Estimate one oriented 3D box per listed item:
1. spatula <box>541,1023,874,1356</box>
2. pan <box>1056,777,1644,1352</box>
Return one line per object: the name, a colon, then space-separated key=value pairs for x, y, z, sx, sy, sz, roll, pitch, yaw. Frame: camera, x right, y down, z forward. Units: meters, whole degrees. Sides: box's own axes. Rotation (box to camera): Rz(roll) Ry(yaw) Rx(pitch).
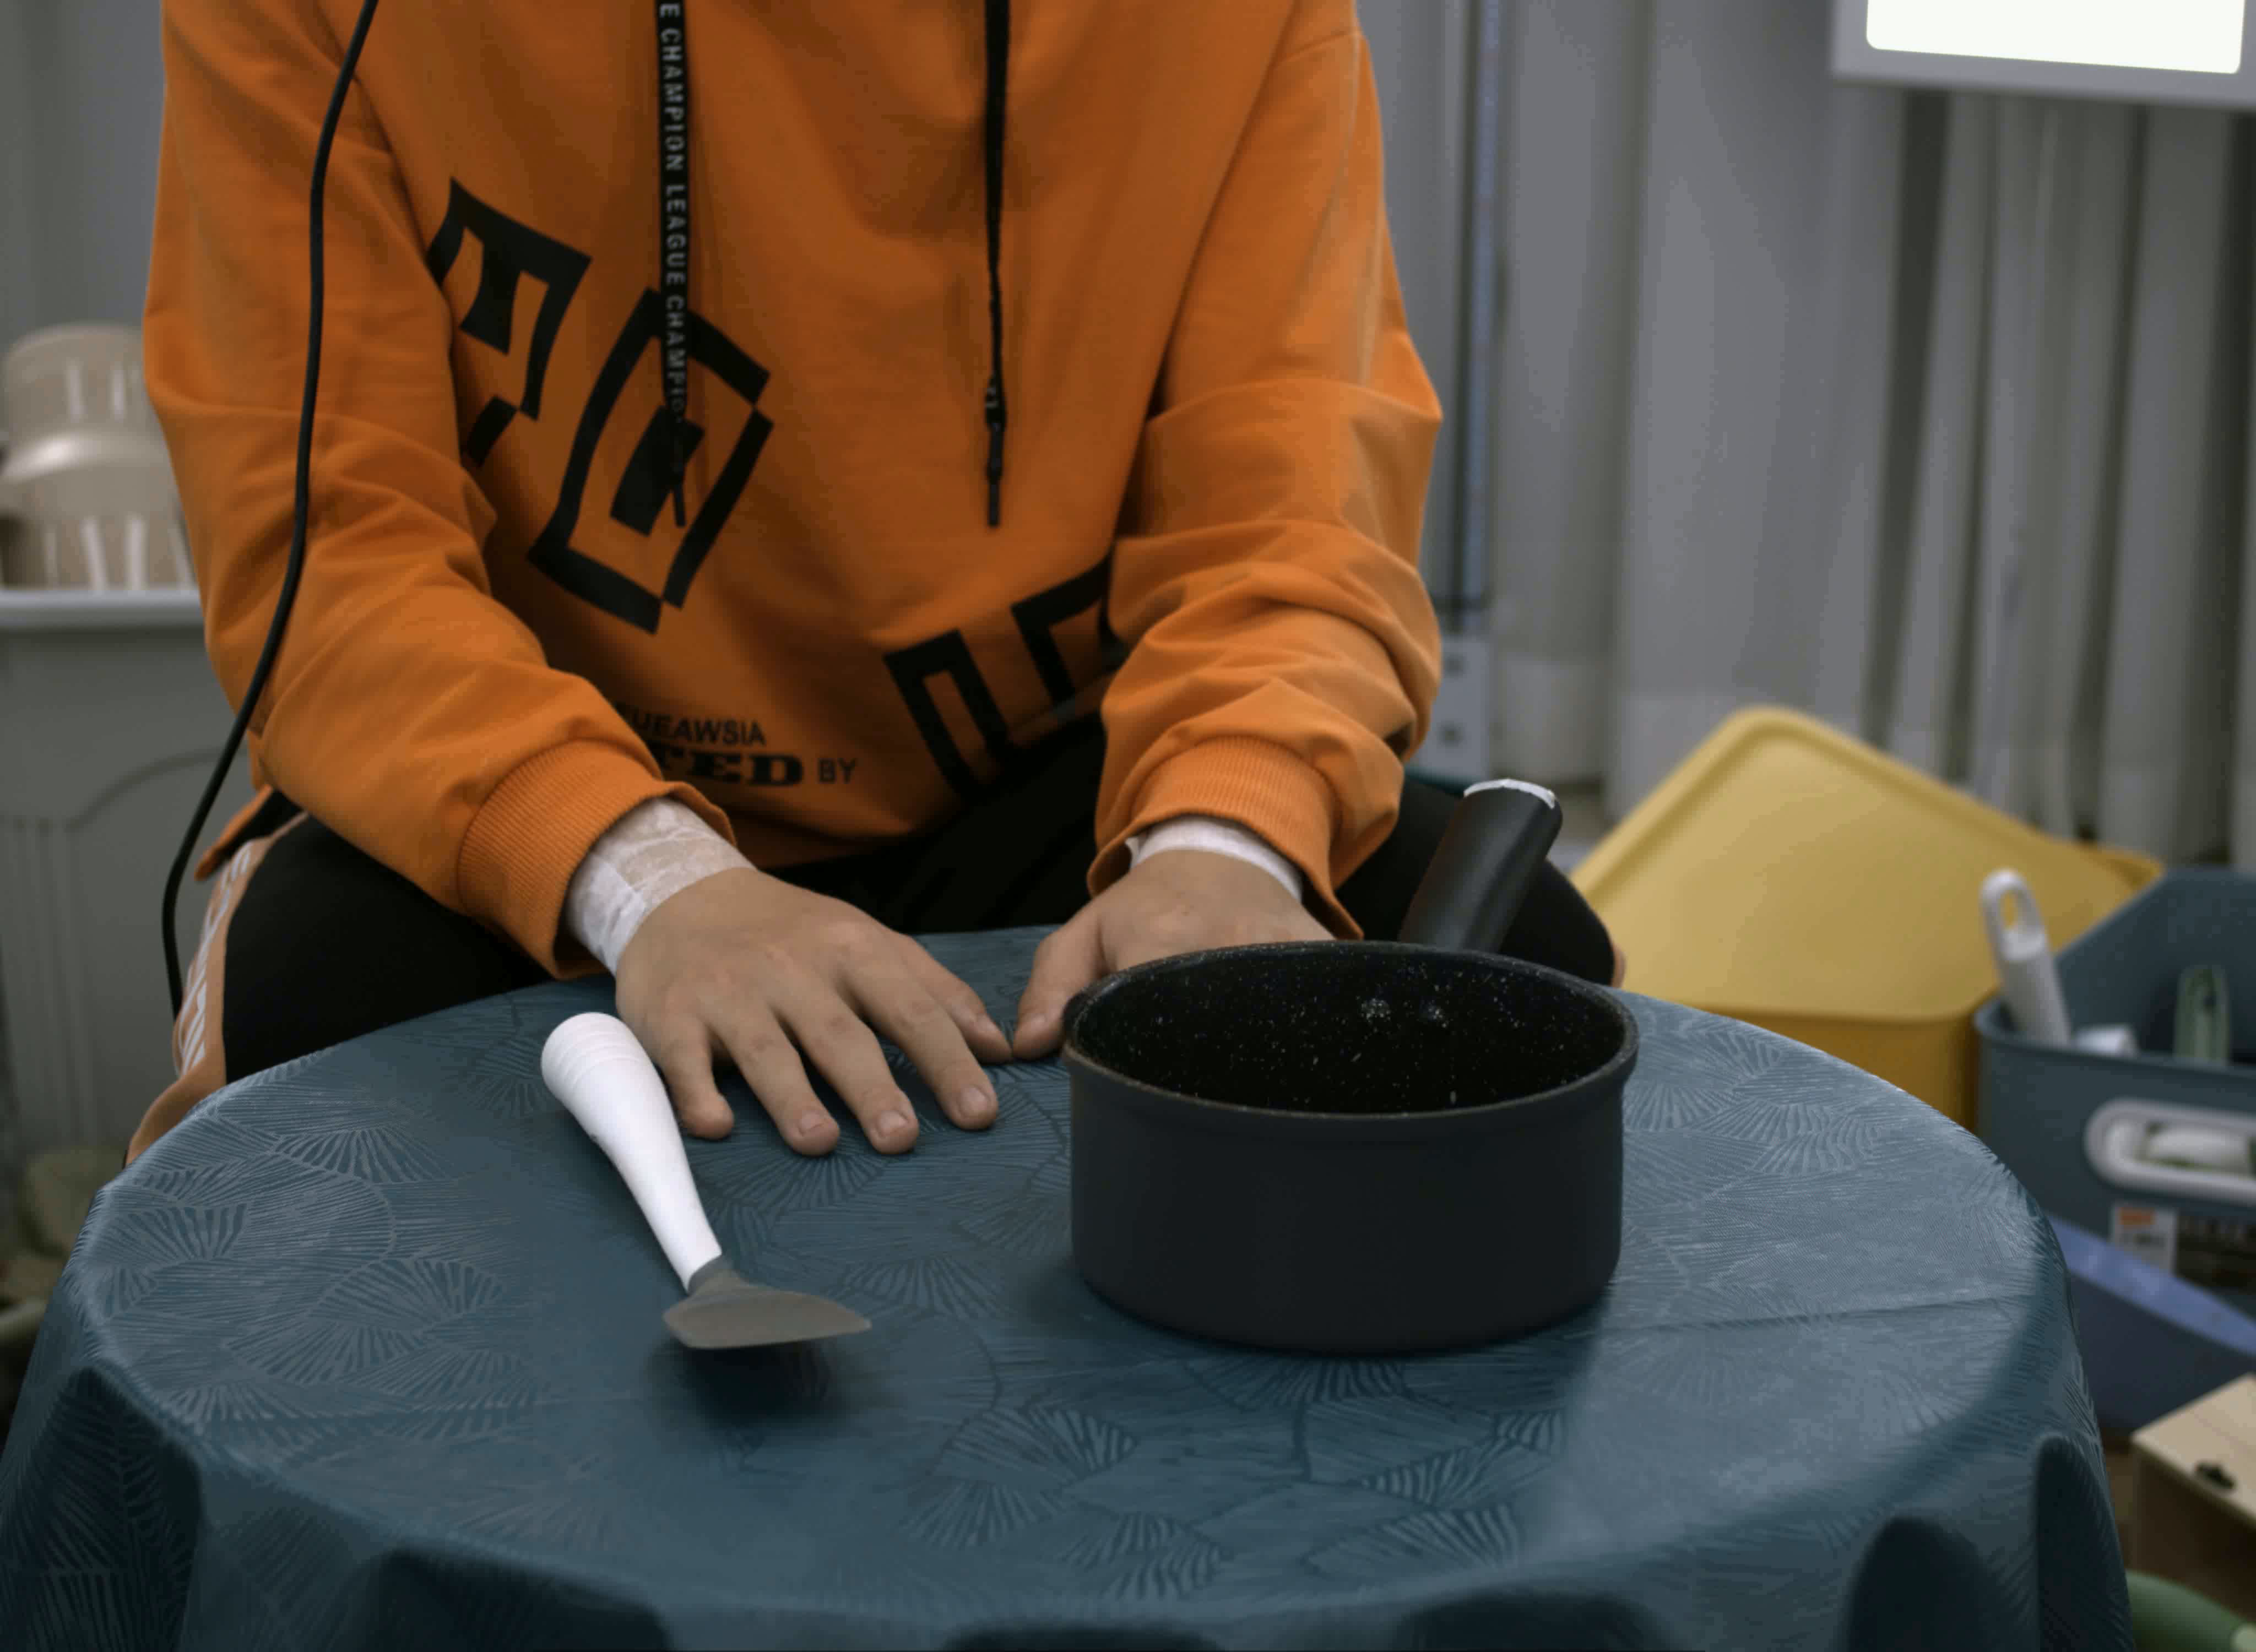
spatula: x=-0.132 y=0.113 z=1.557 sx=0.059 sy=0.032 sz=0.284 roll=0 pitch=14 yaw=-17
pan: x=0.089 y=0.069 z=1.622 sx=0.170 sy=0.087 sz=0.328 roll=6 pitch=18 yaw=17
